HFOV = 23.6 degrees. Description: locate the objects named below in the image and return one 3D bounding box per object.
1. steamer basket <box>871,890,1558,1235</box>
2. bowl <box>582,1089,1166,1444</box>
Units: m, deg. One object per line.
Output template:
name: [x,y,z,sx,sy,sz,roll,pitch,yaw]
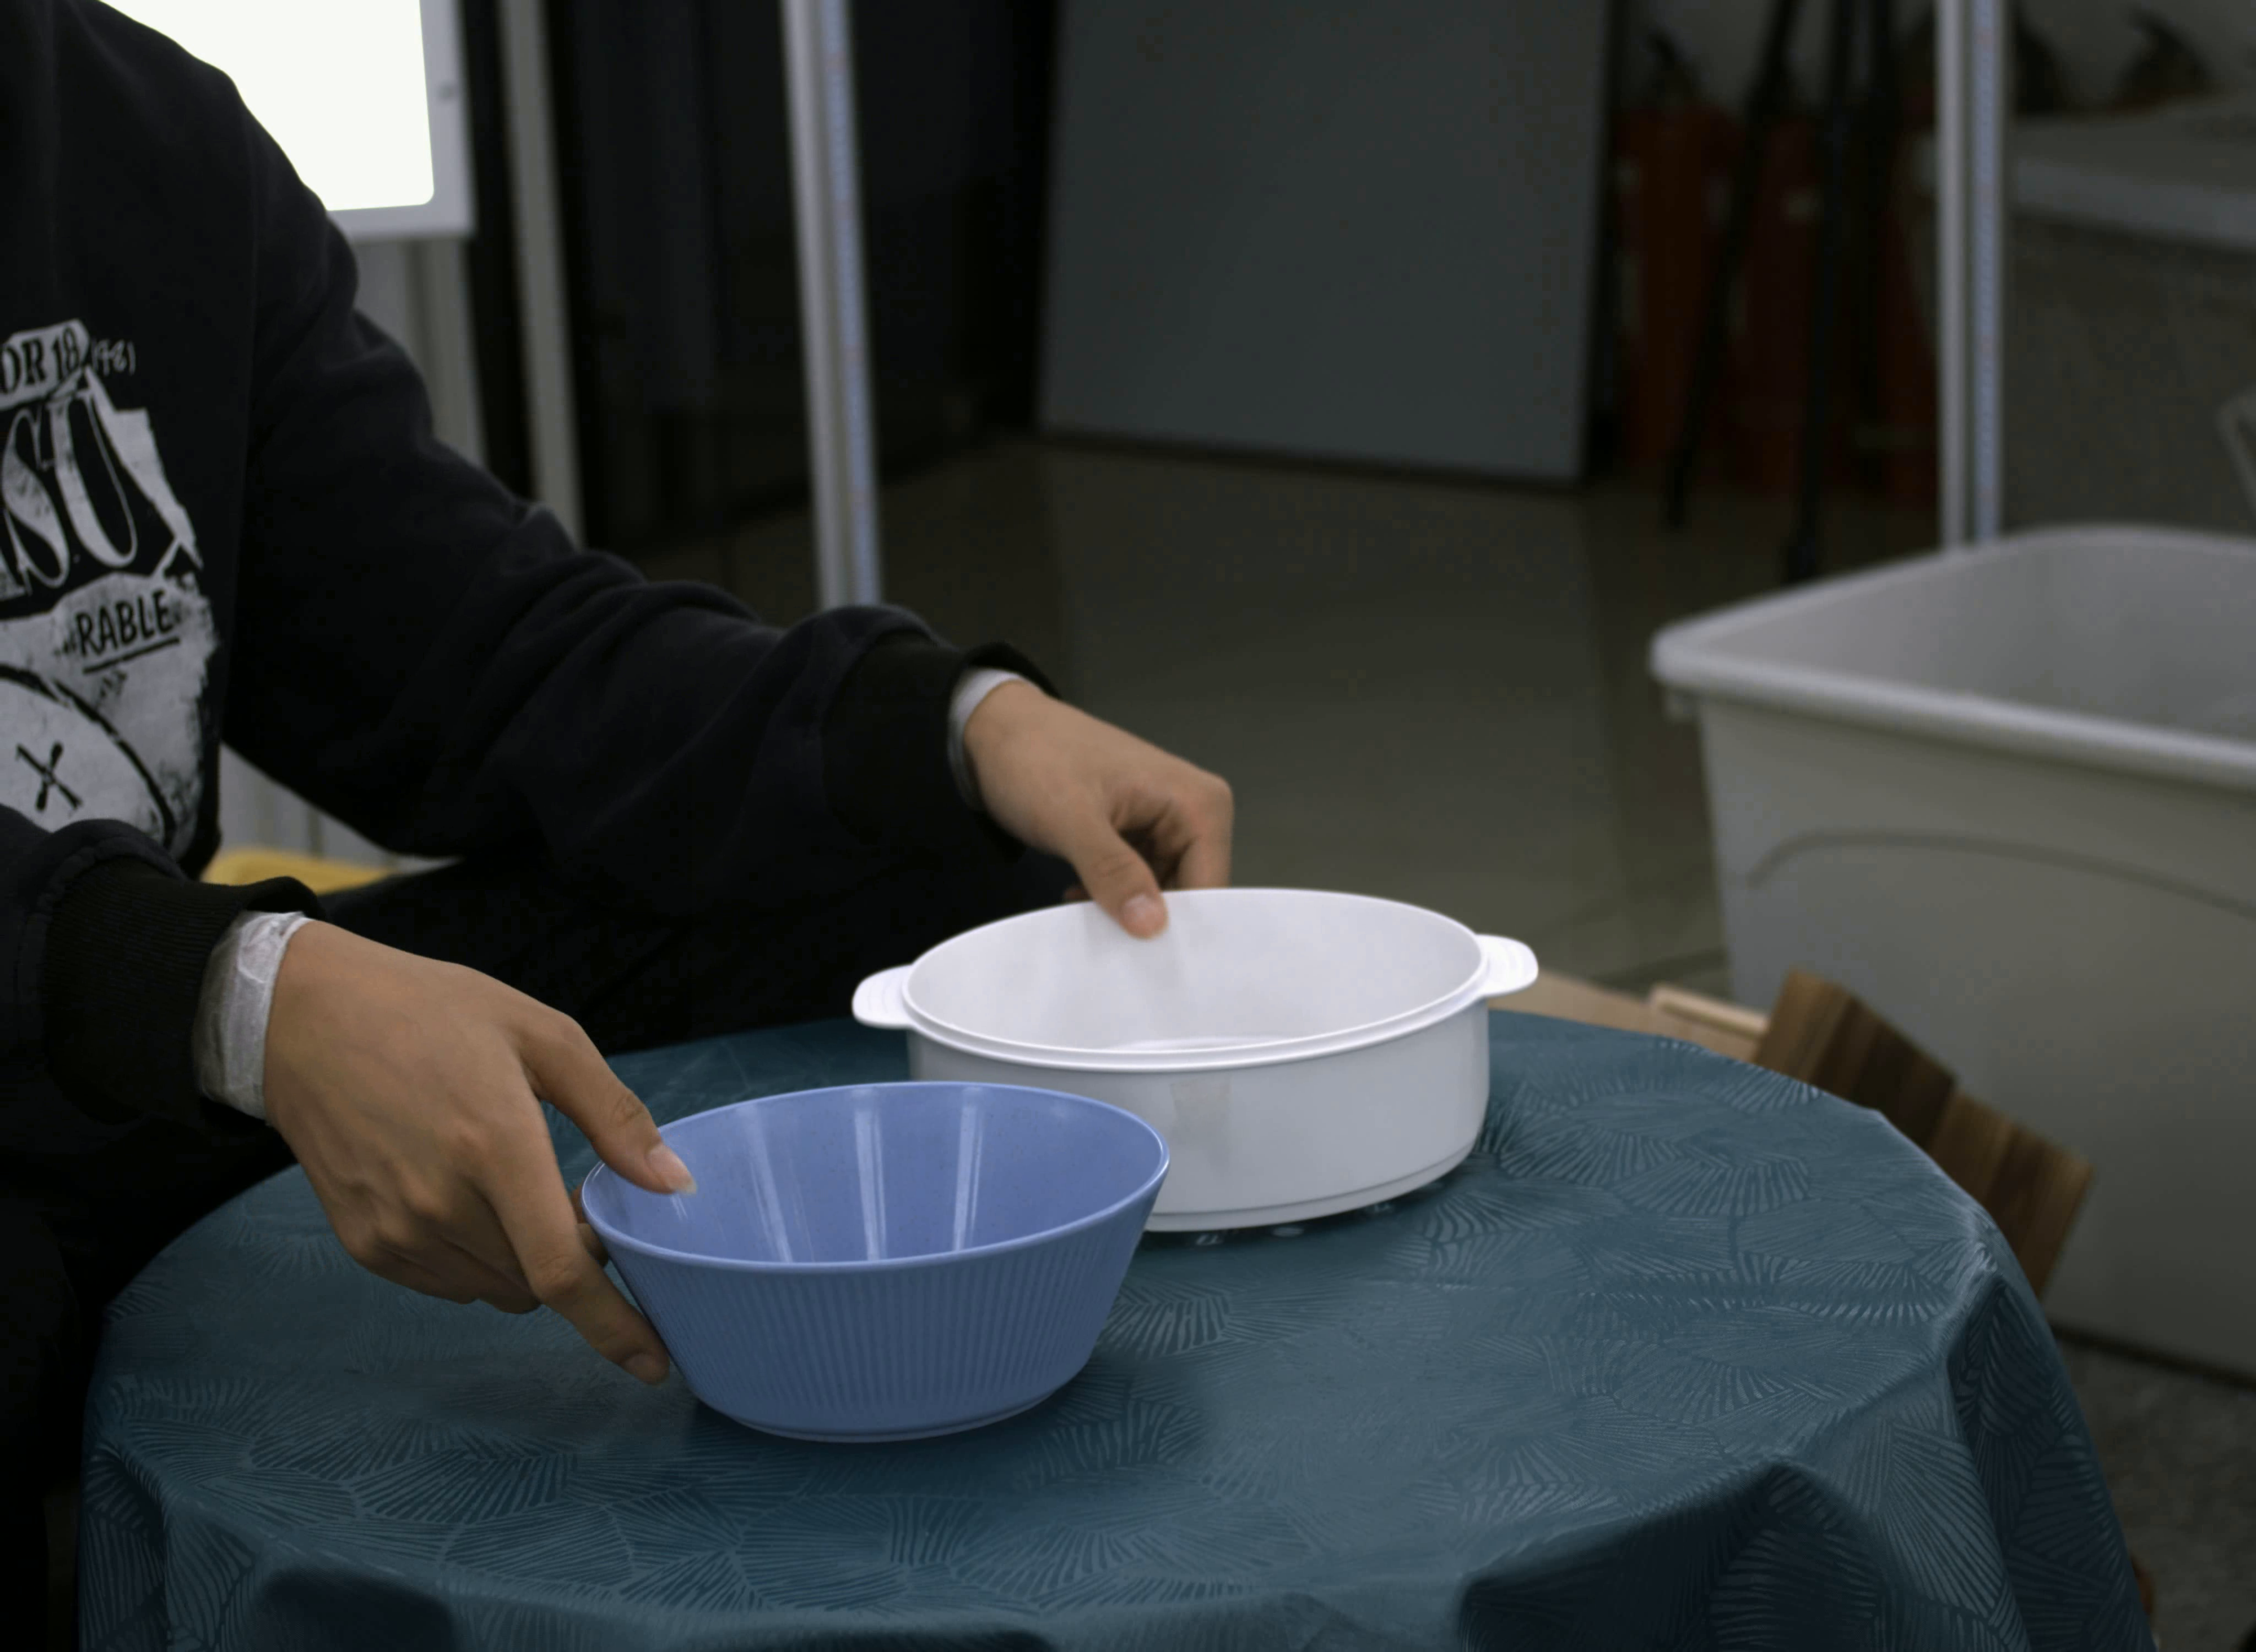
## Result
steamer basket: [0.029,0.078,1.793,0.228,0.070,0.202,-1,14,2]
bowl: [-0.073,0.133,1.598,0.174,0.071,0.176,-4,13,0]
